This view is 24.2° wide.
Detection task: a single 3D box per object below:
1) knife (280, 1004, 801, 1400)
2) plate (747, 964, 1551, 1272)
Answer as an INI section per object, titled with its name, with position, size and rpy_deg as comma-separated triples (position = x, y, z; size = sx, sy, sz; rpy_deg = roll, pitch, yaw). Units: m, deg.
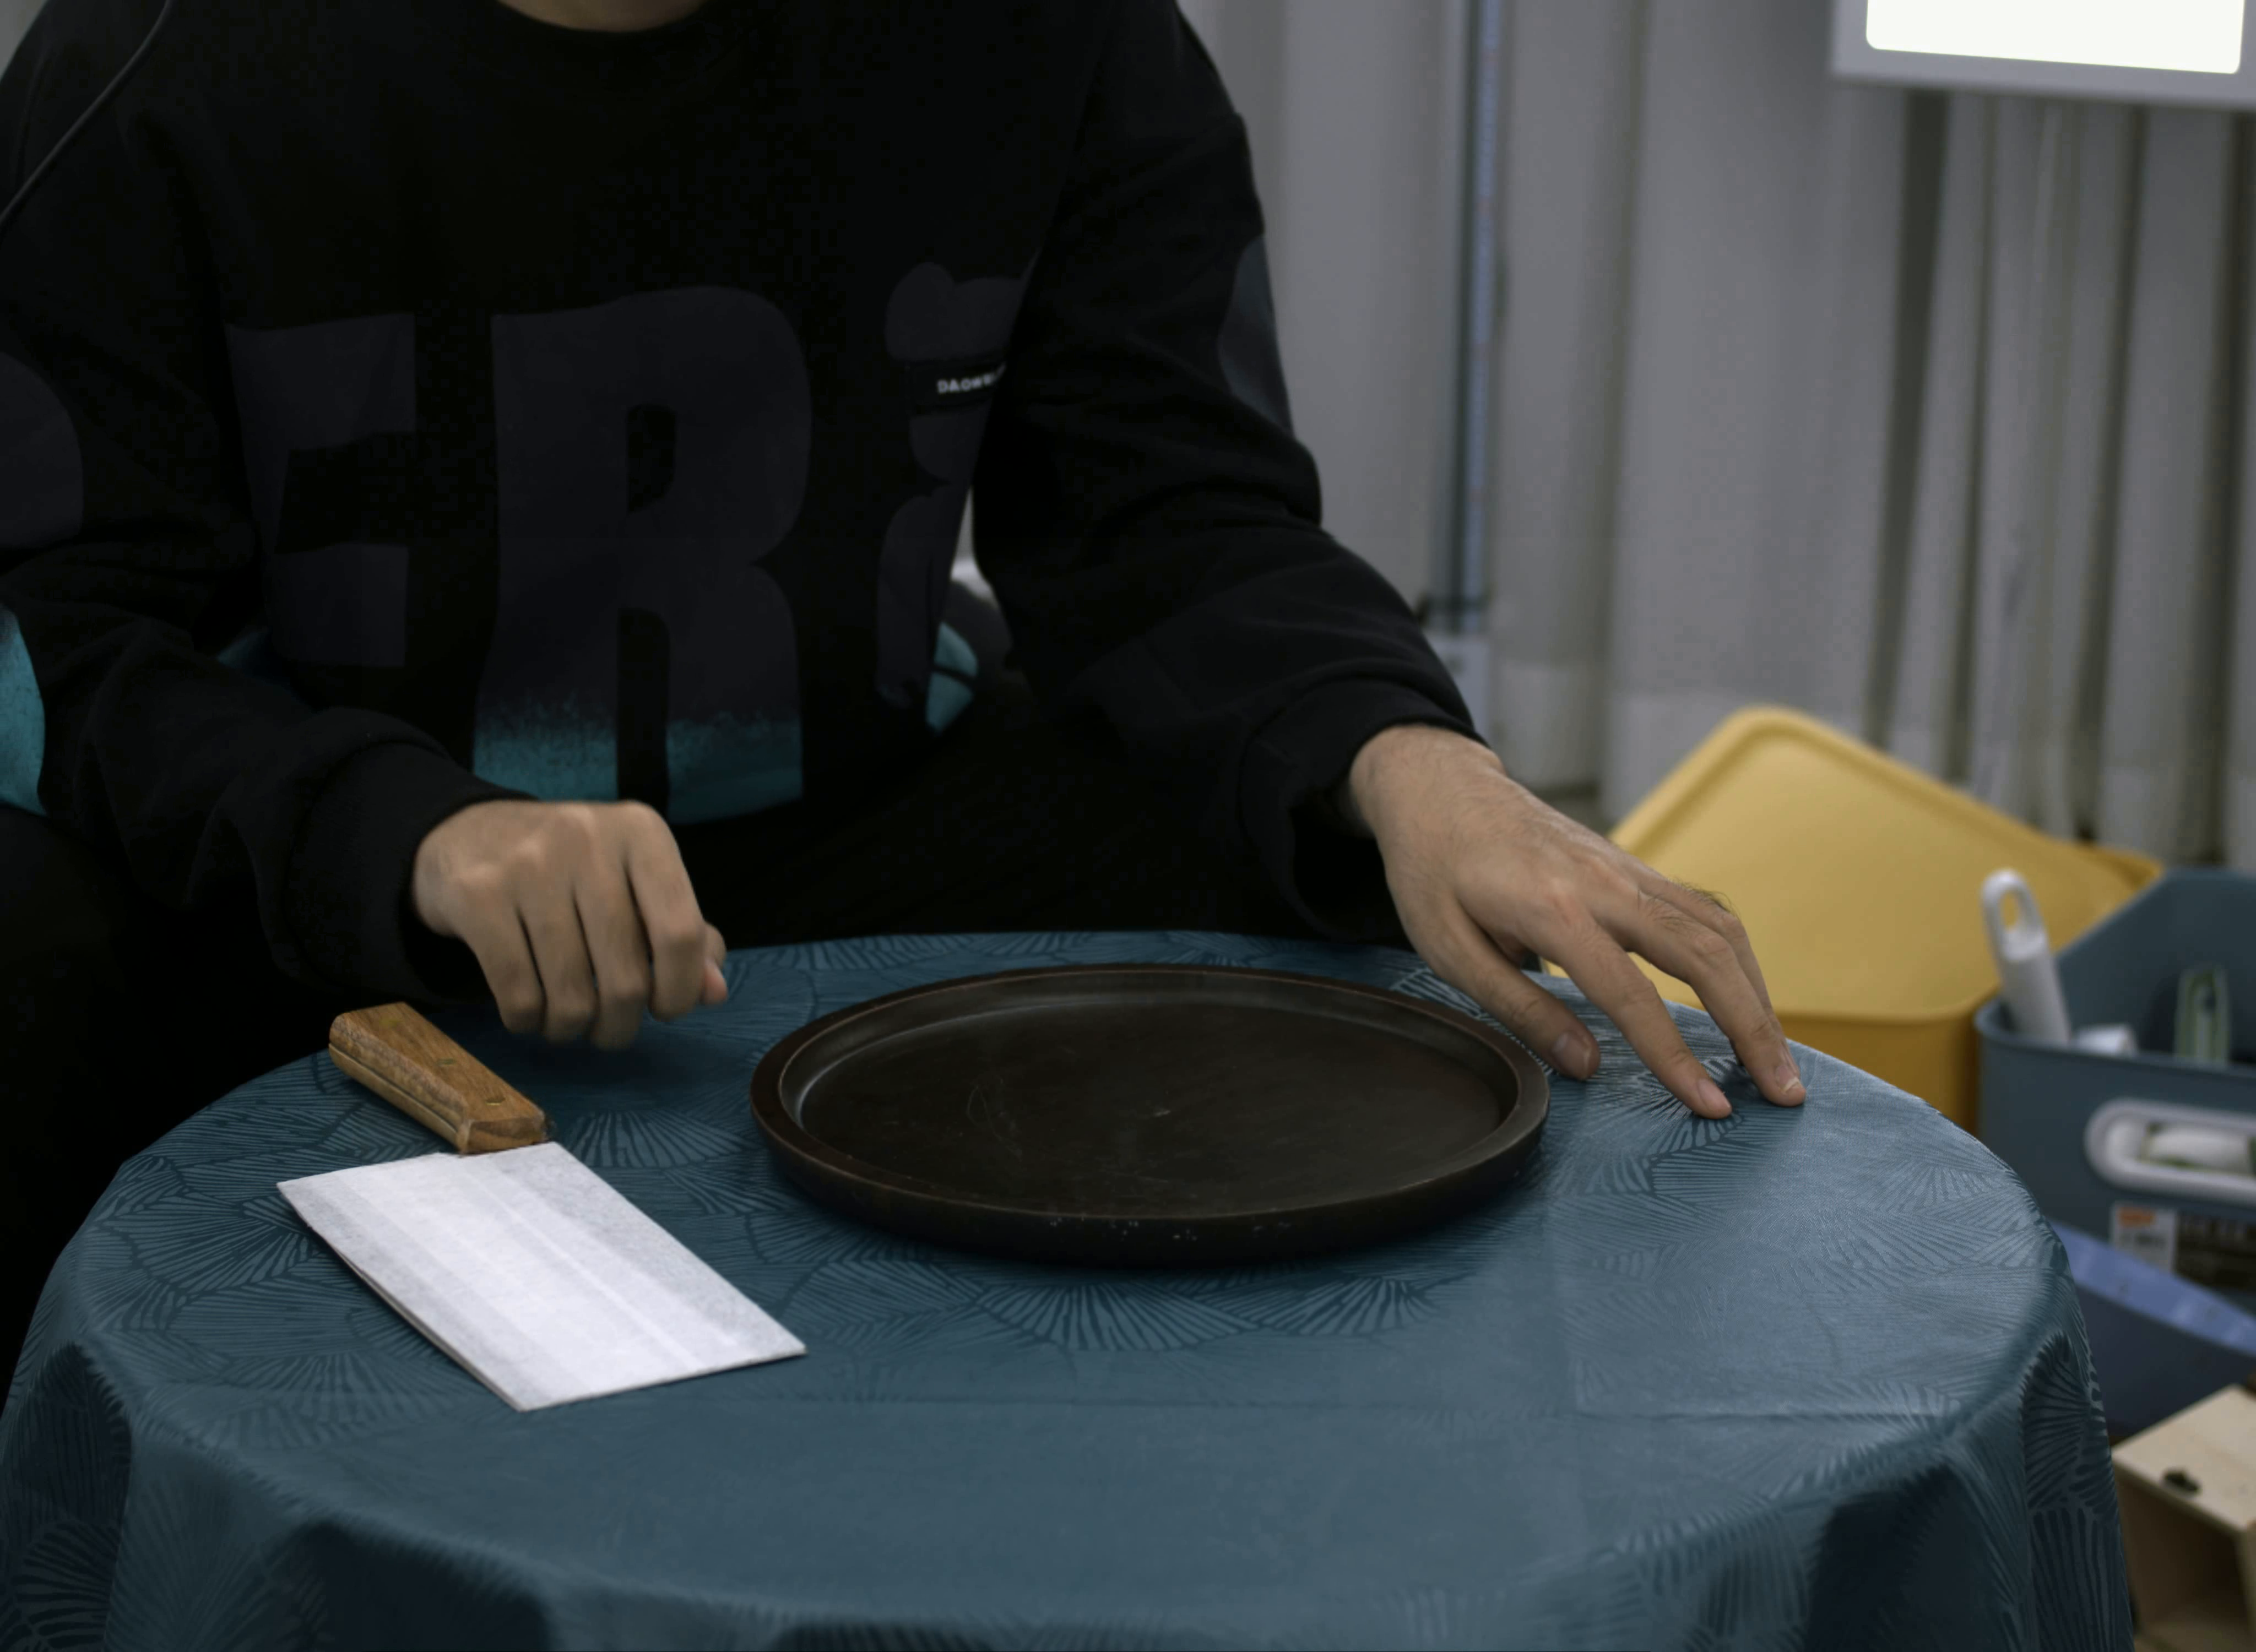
[knife]
position = -0.201, 0.112, 1.588
size = 0.093, 0.021, 0.302
rpy_deg = -10, 21, -28
[plate]
position = 0.007, 0.089, 1.659
size = 0.254, 0.029, 0.253
rpy_deg = 0, 17, 1
